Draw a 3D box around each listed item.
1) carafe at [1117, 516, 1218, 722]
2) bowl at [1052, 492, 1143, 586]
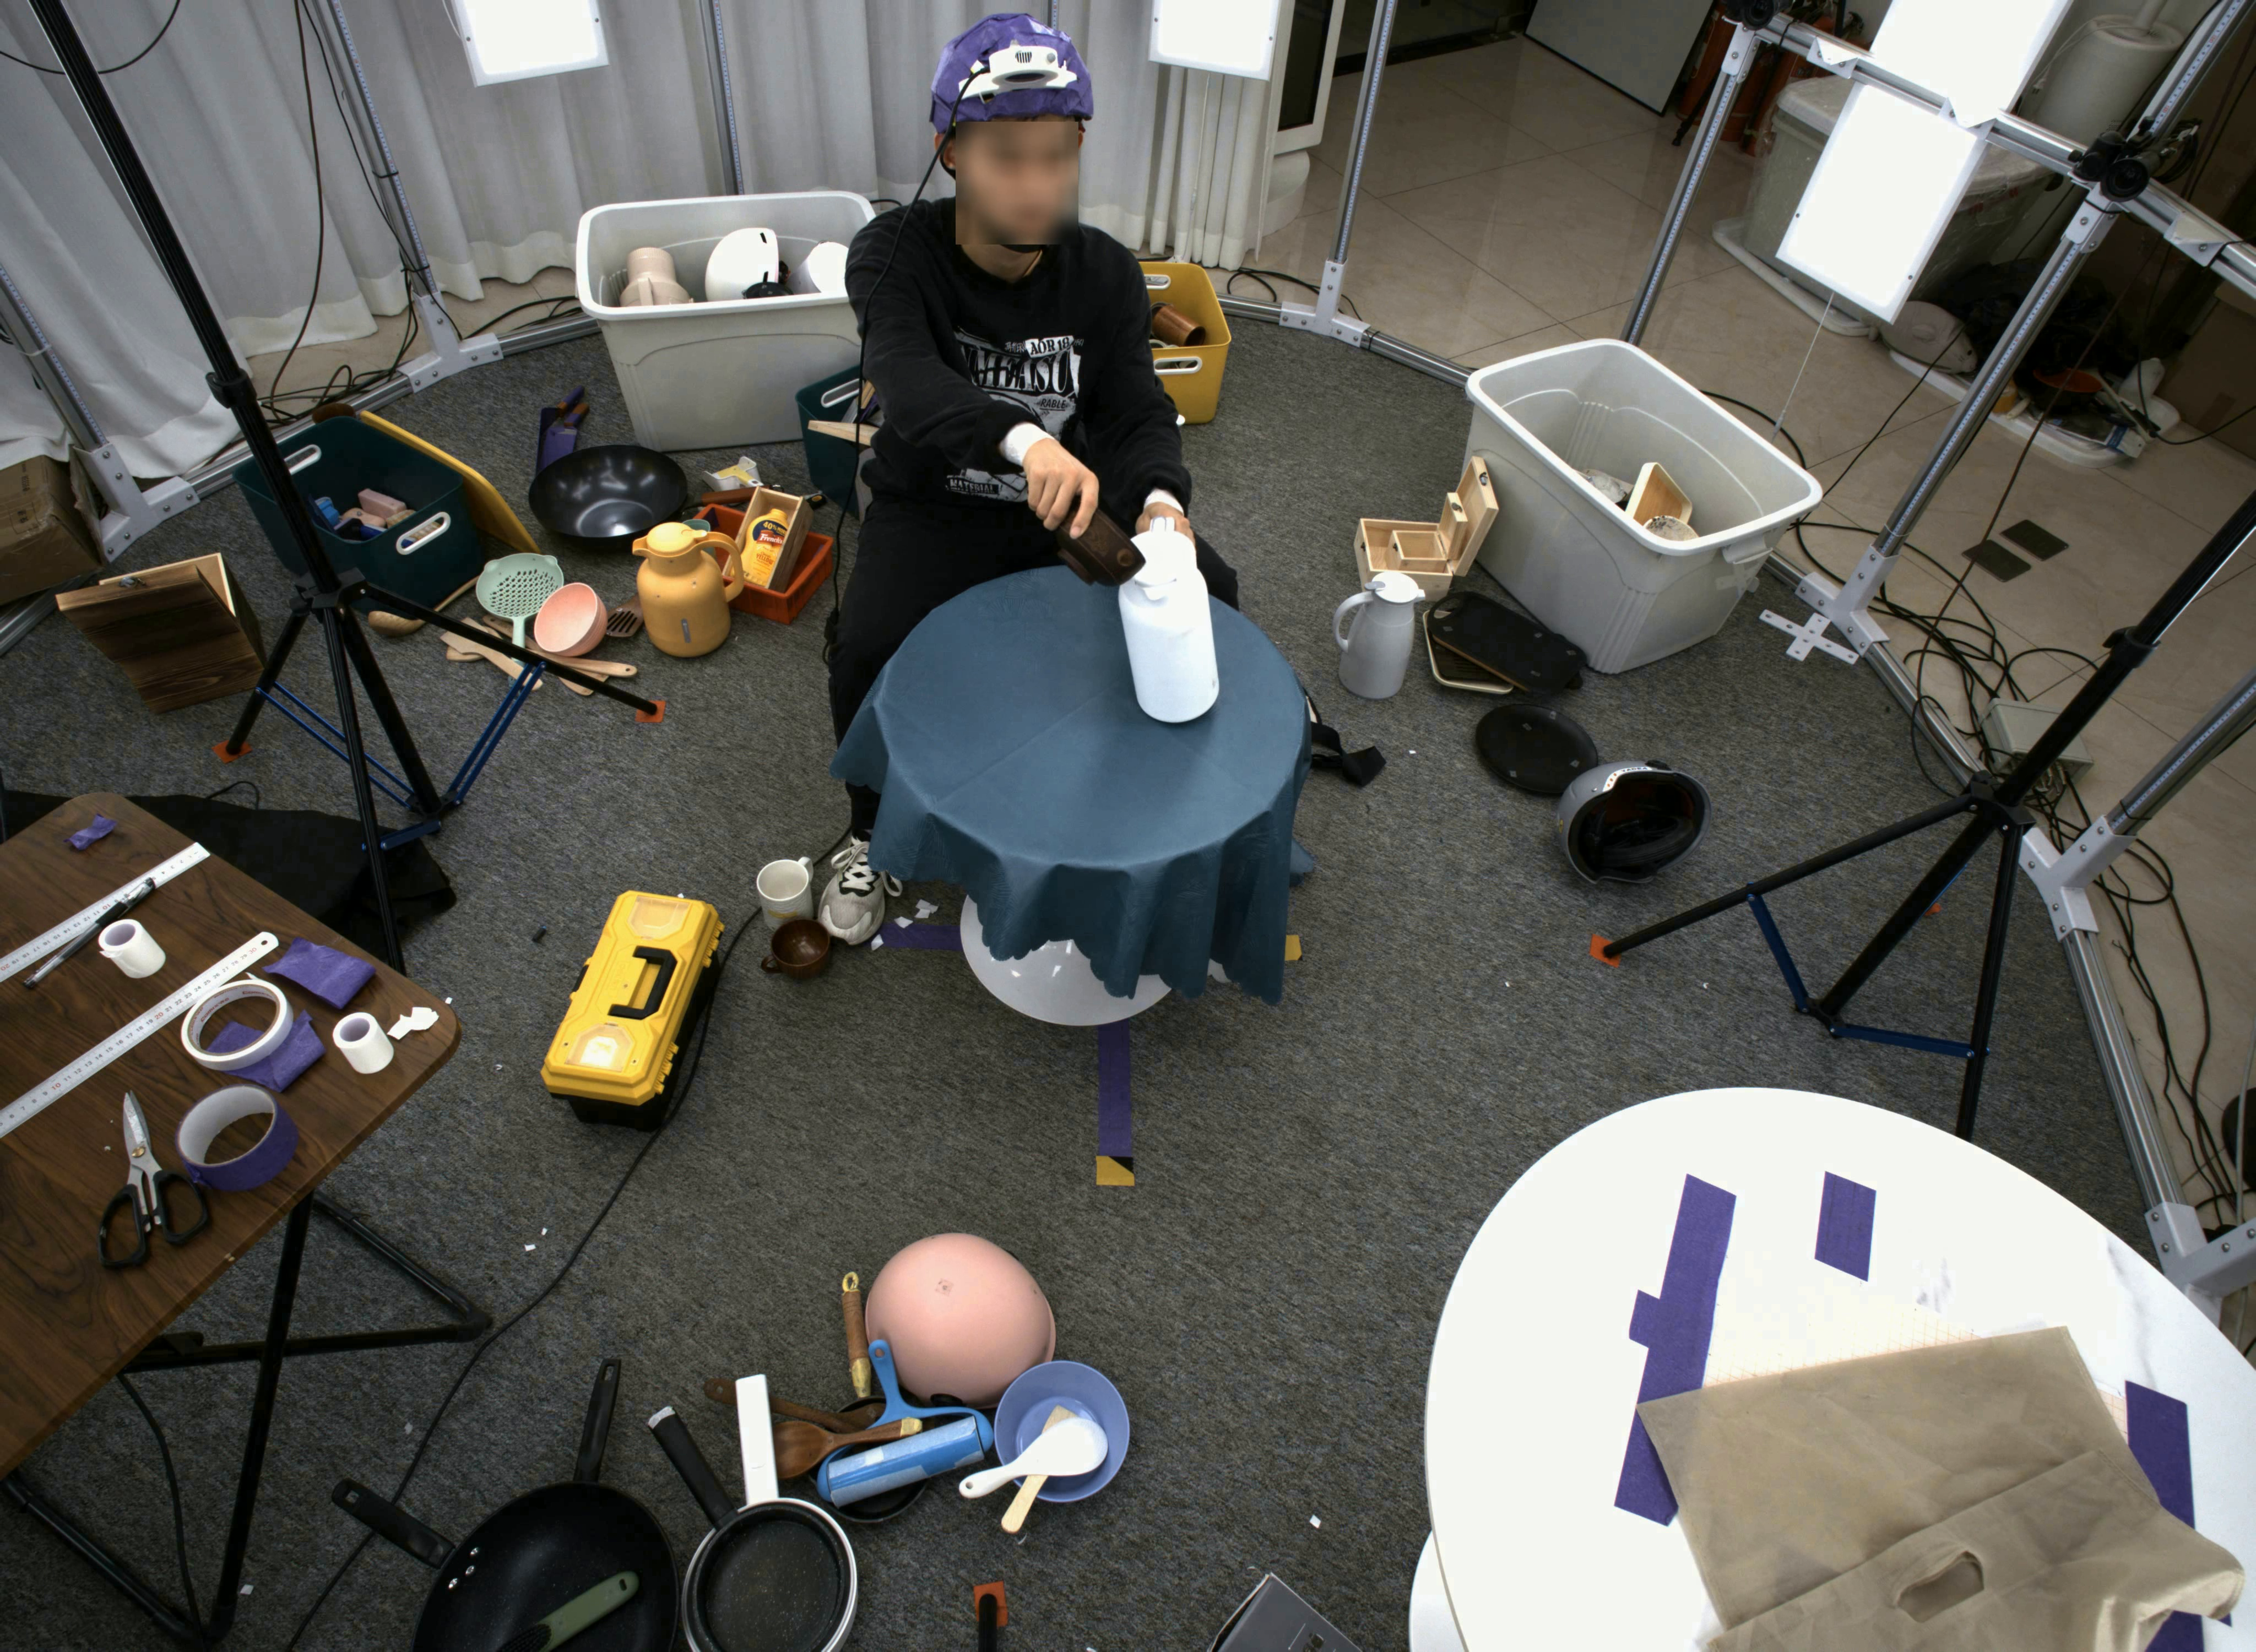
[{"bbox_3d":[0.052,-0.280,1.733,0.124,0.262,0.177,-4,53,10],"label":"carafe"},{"bbox_3d":[-0.045,-0.338,1.559,0.070,0.116,0.120,-46,61,2],"label":"bowl"}]
